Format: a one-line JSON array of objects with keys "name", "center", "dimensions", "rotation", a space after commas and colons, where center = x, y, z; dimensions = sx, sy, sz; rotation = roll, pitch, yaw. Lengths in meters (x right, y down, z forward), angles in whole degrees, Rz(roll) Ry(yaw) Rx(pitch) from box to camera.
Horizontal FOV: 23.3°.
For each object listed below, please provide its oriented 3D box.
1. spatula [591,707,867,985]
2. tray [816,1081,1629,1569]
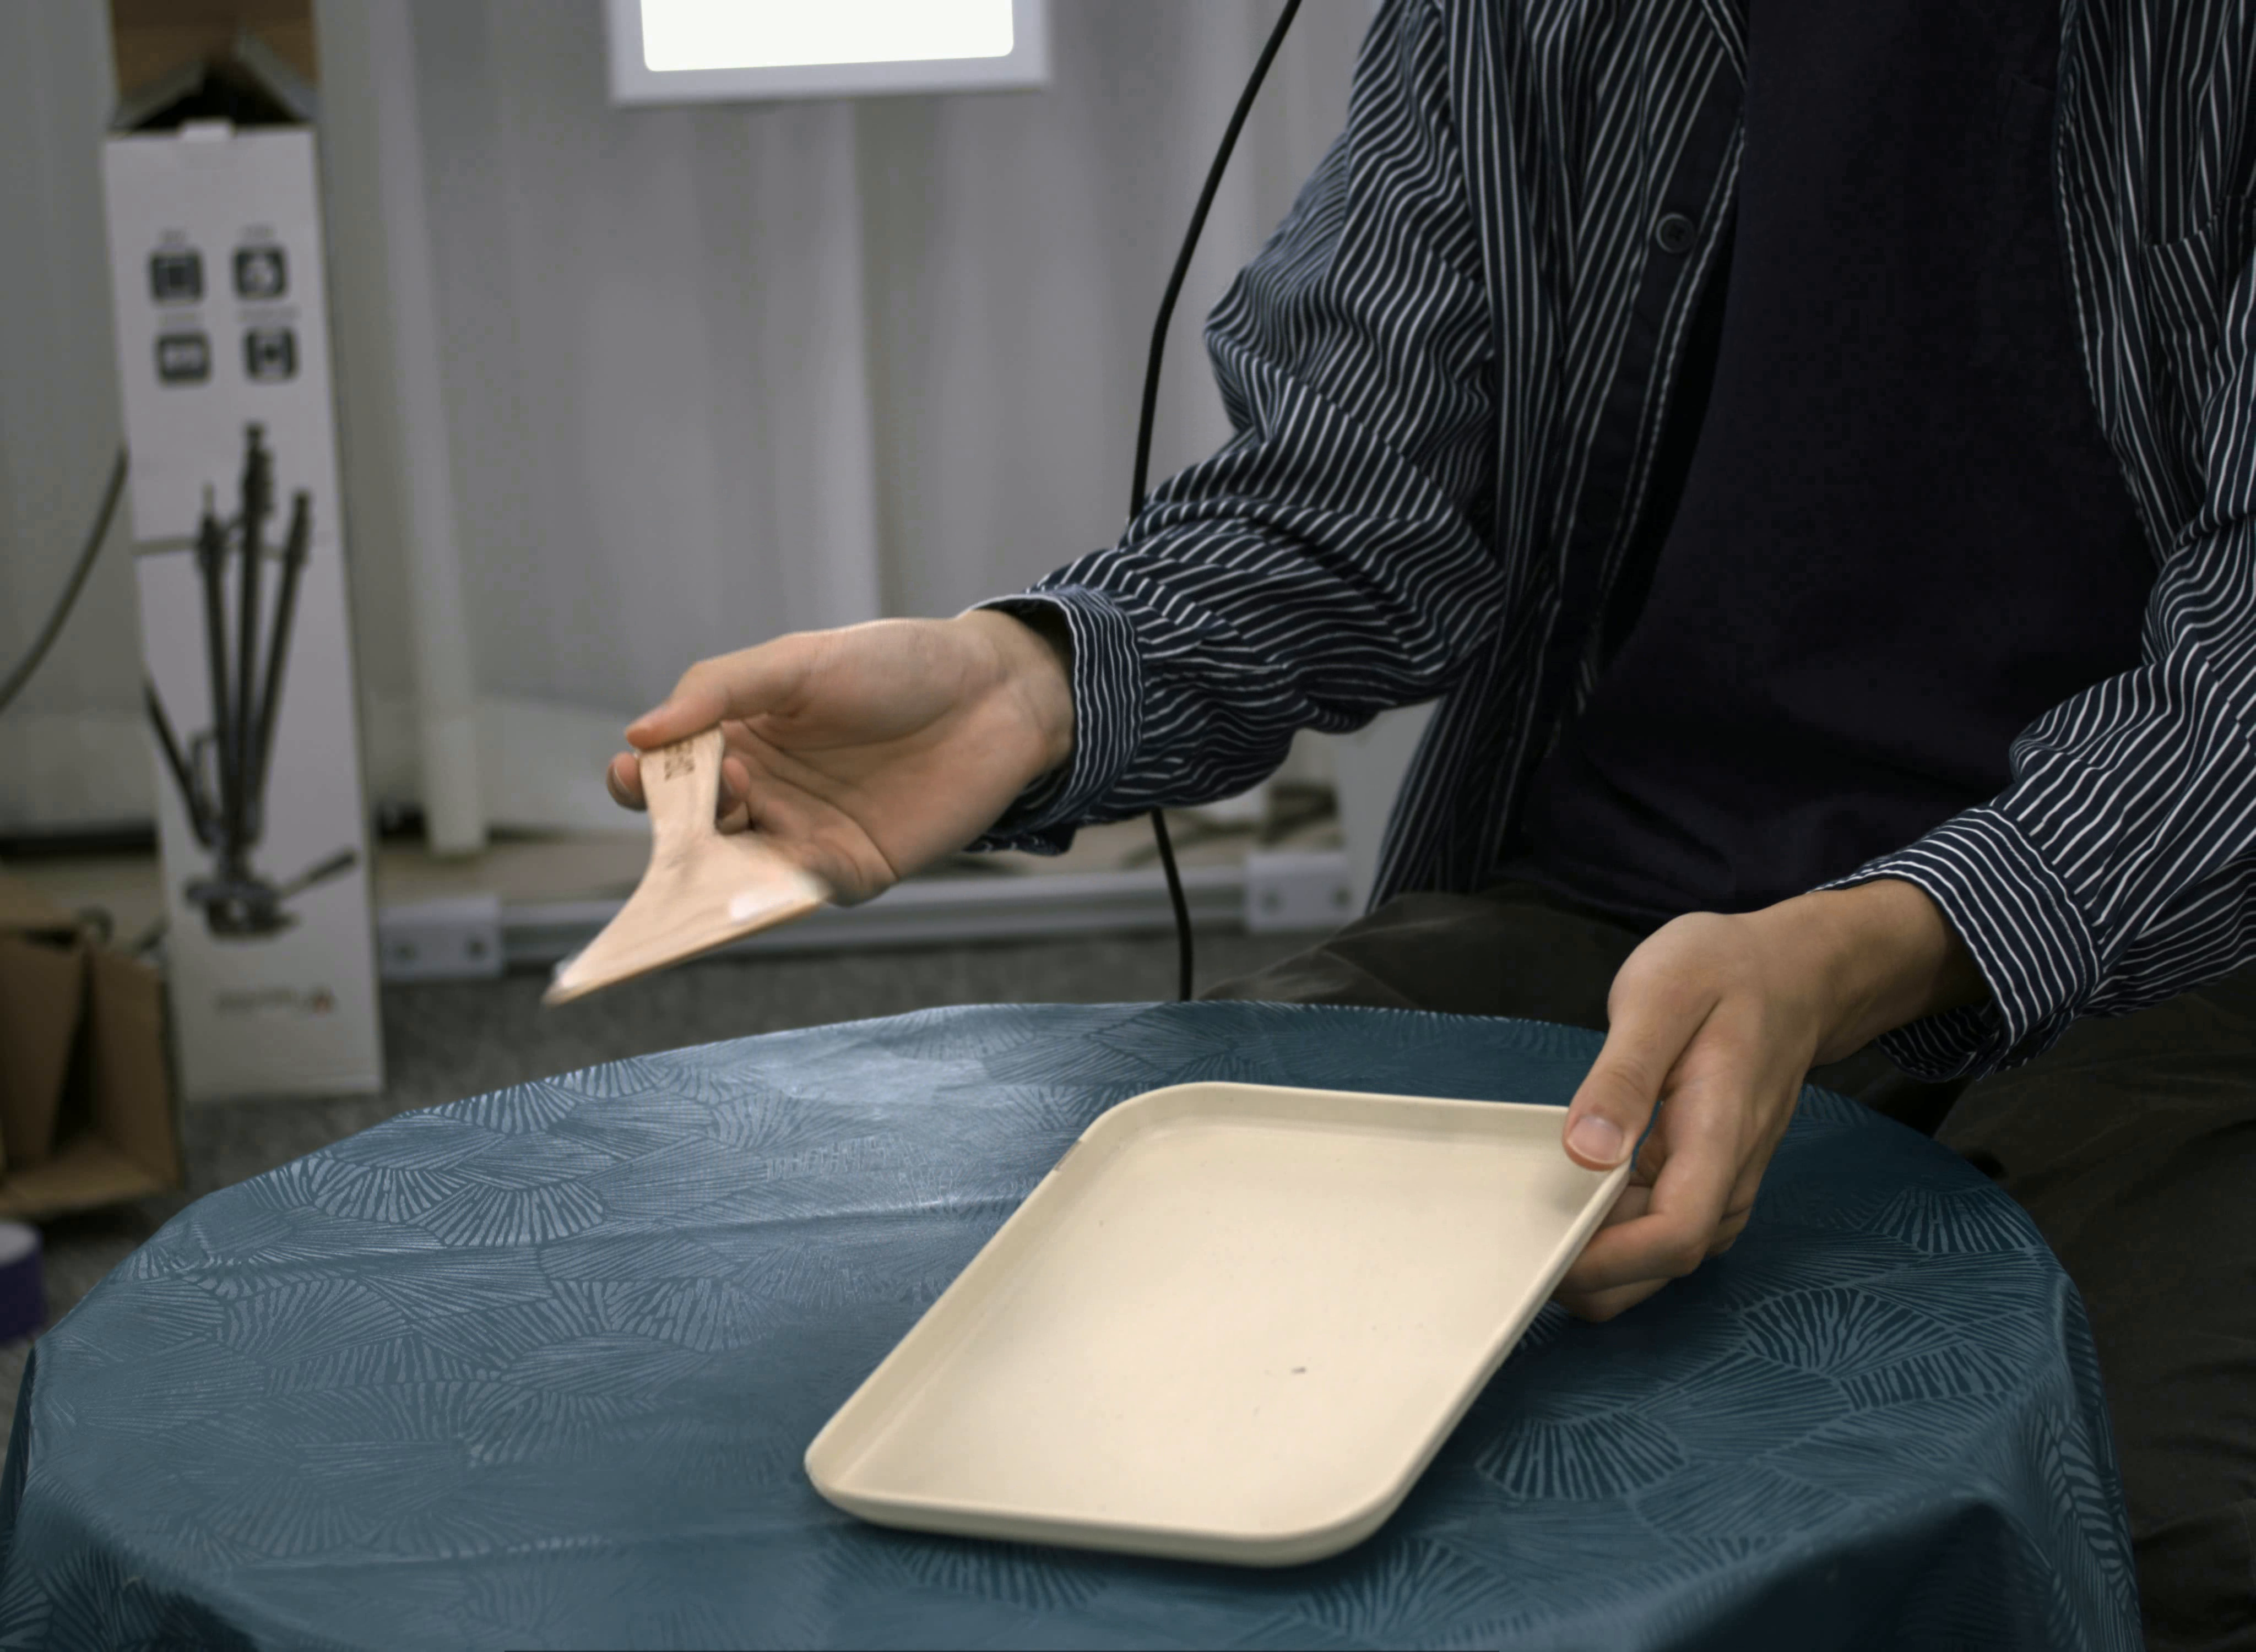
[{"name": "spatula", "center": [-0.128, -0.001, 1.637], "dimensions": [0.080, 0.016, 0.330], "rotation": [-19, 15, -4]}, {"name": "tray", "center": [0.031, 0.136, 1.519], "dimensions": [0.171, 0.017, 0.241], "rotation": [3, 26, 25]}]
